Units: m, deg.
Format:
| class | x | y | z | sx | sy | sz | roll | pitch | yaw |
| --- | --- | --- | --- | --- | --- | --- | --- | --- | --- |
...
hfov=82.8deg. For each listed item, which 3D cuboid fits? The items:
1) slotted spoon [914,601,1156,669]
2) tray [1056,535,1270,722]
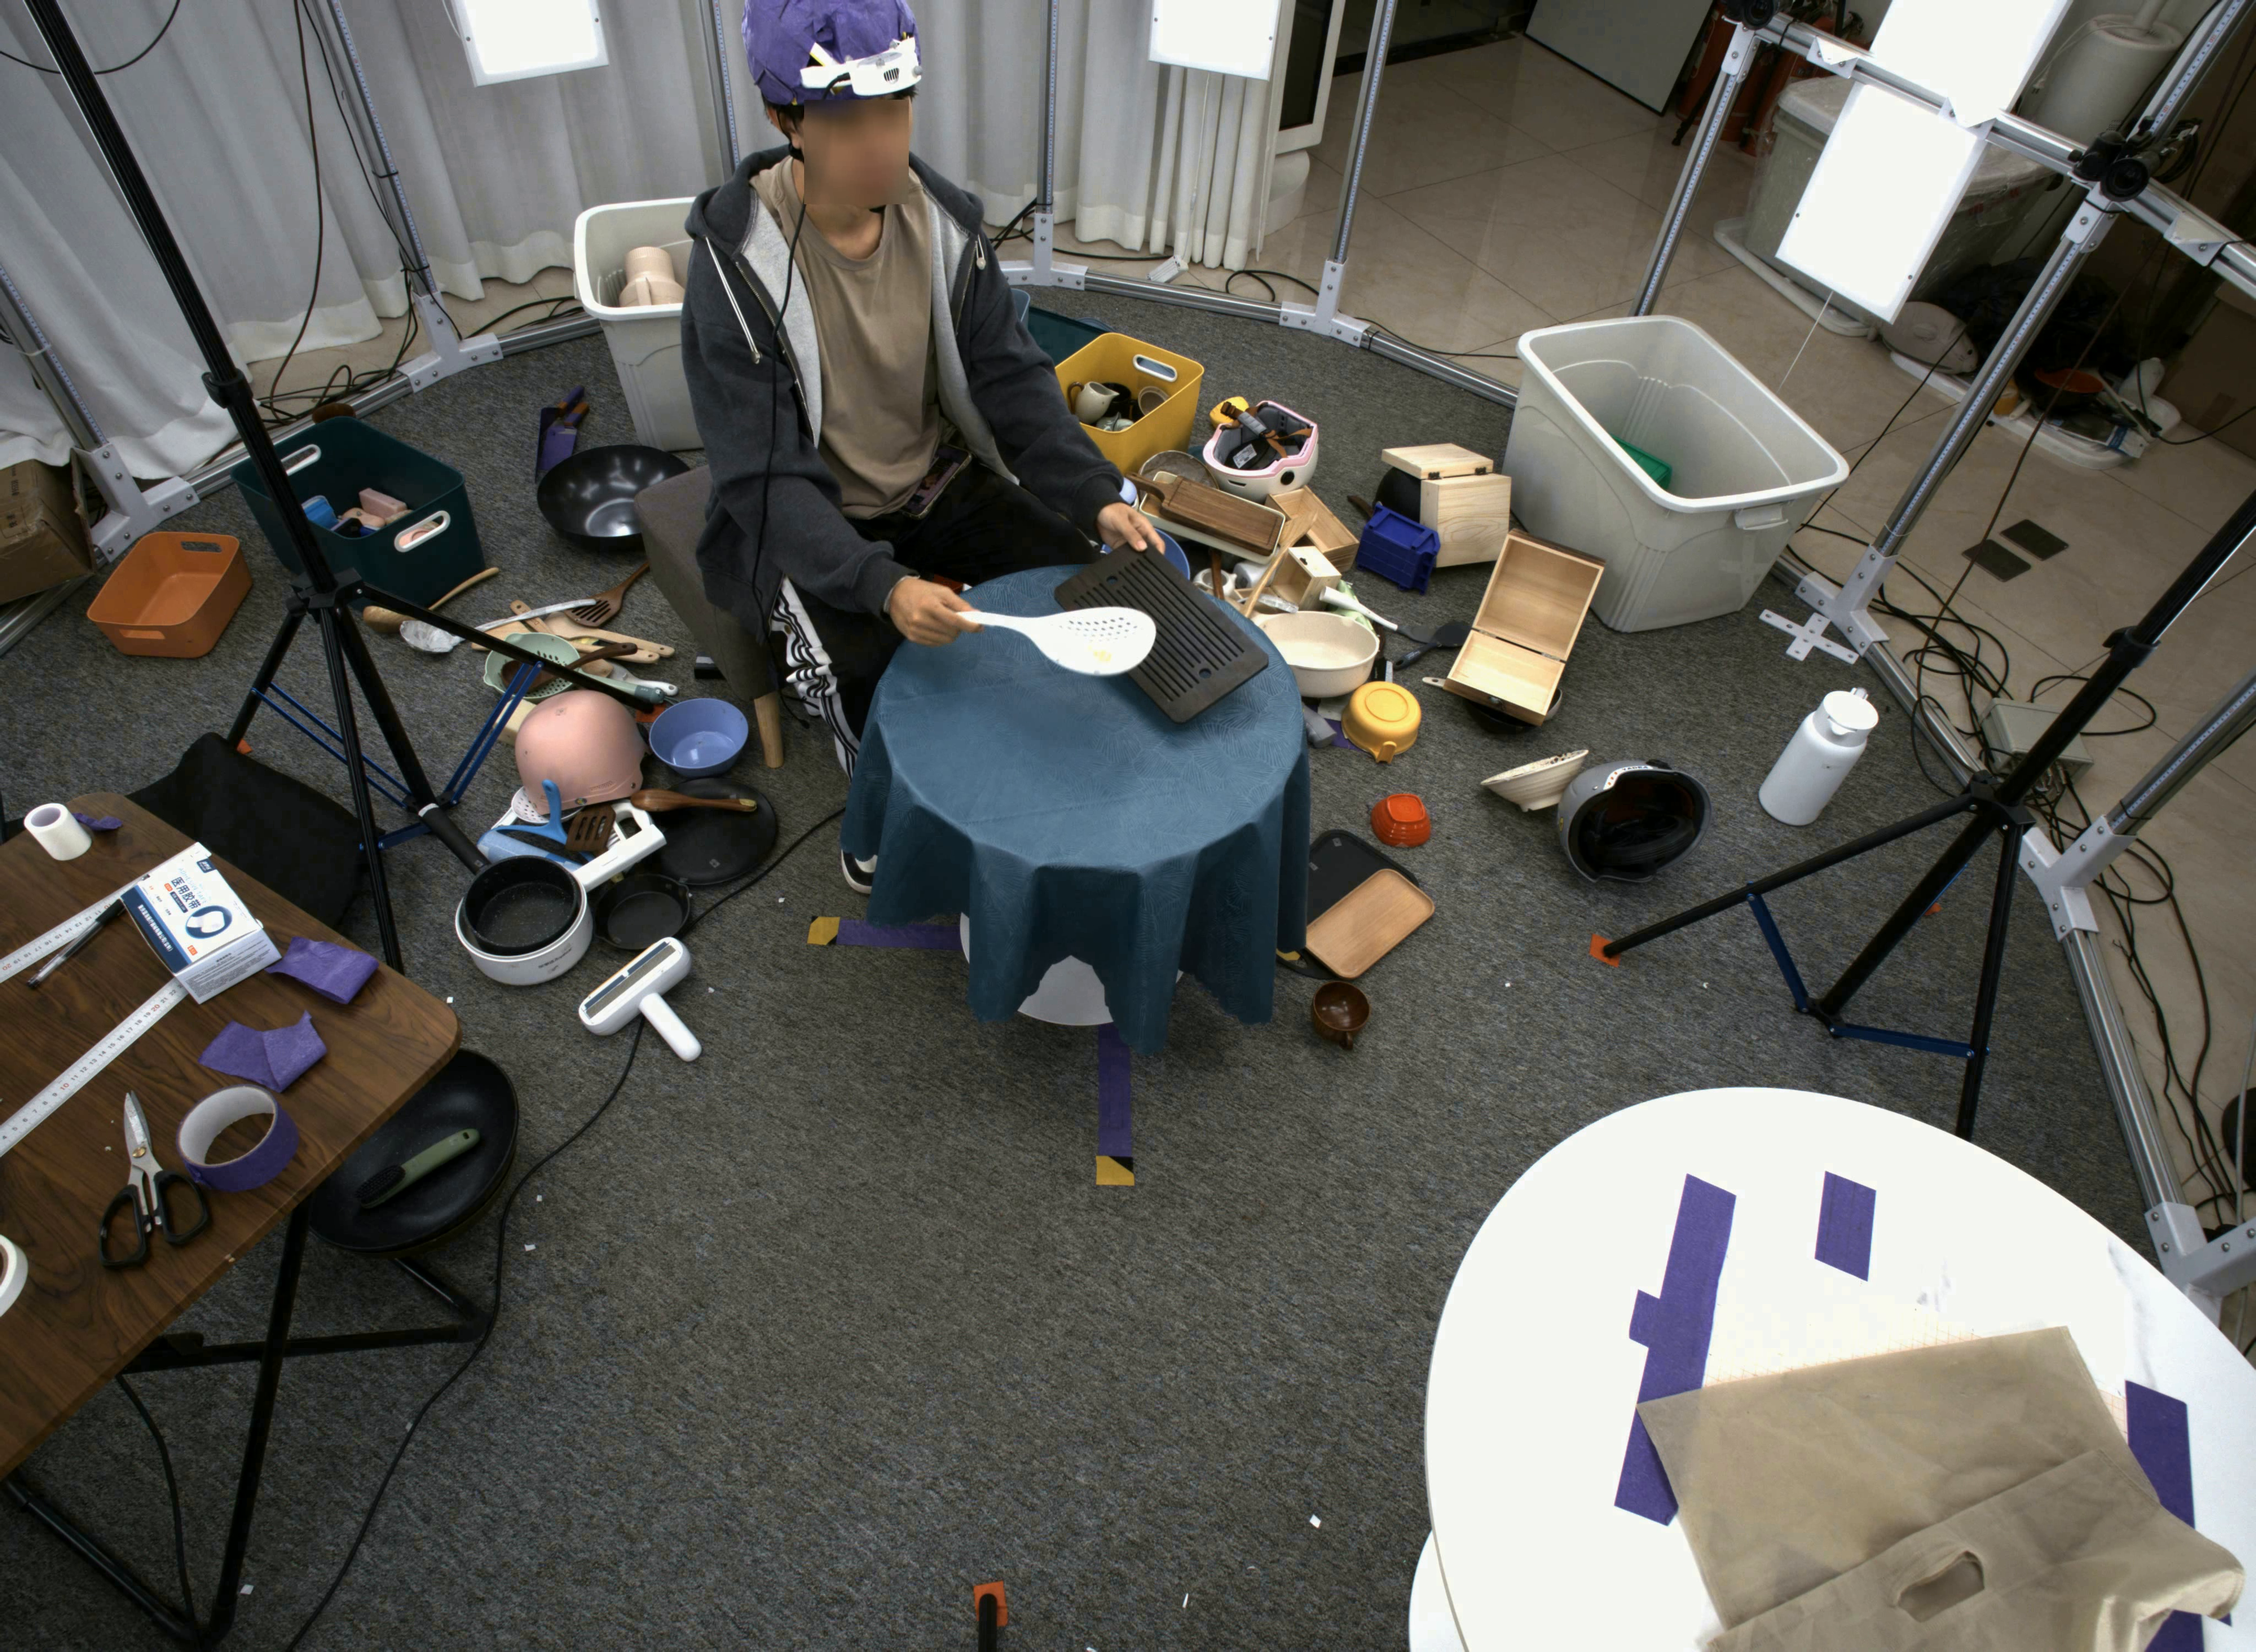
| class | x | y | z | sx | sy | sz | roll | pitch | yaw |
| --- | --- | --- | --- | --- | --- | --- | --- | --- | --- |
| slotted spoon | -0.131 | -0.266 | 1.744 | 0.349 | 0.049 | 0.139 | 12 | 48 | 16 |
| tray | 0.047 | -0.288 | 1.849 | 0.171 | 0.018 | 0.311 | -34 | 62 | -14 |
